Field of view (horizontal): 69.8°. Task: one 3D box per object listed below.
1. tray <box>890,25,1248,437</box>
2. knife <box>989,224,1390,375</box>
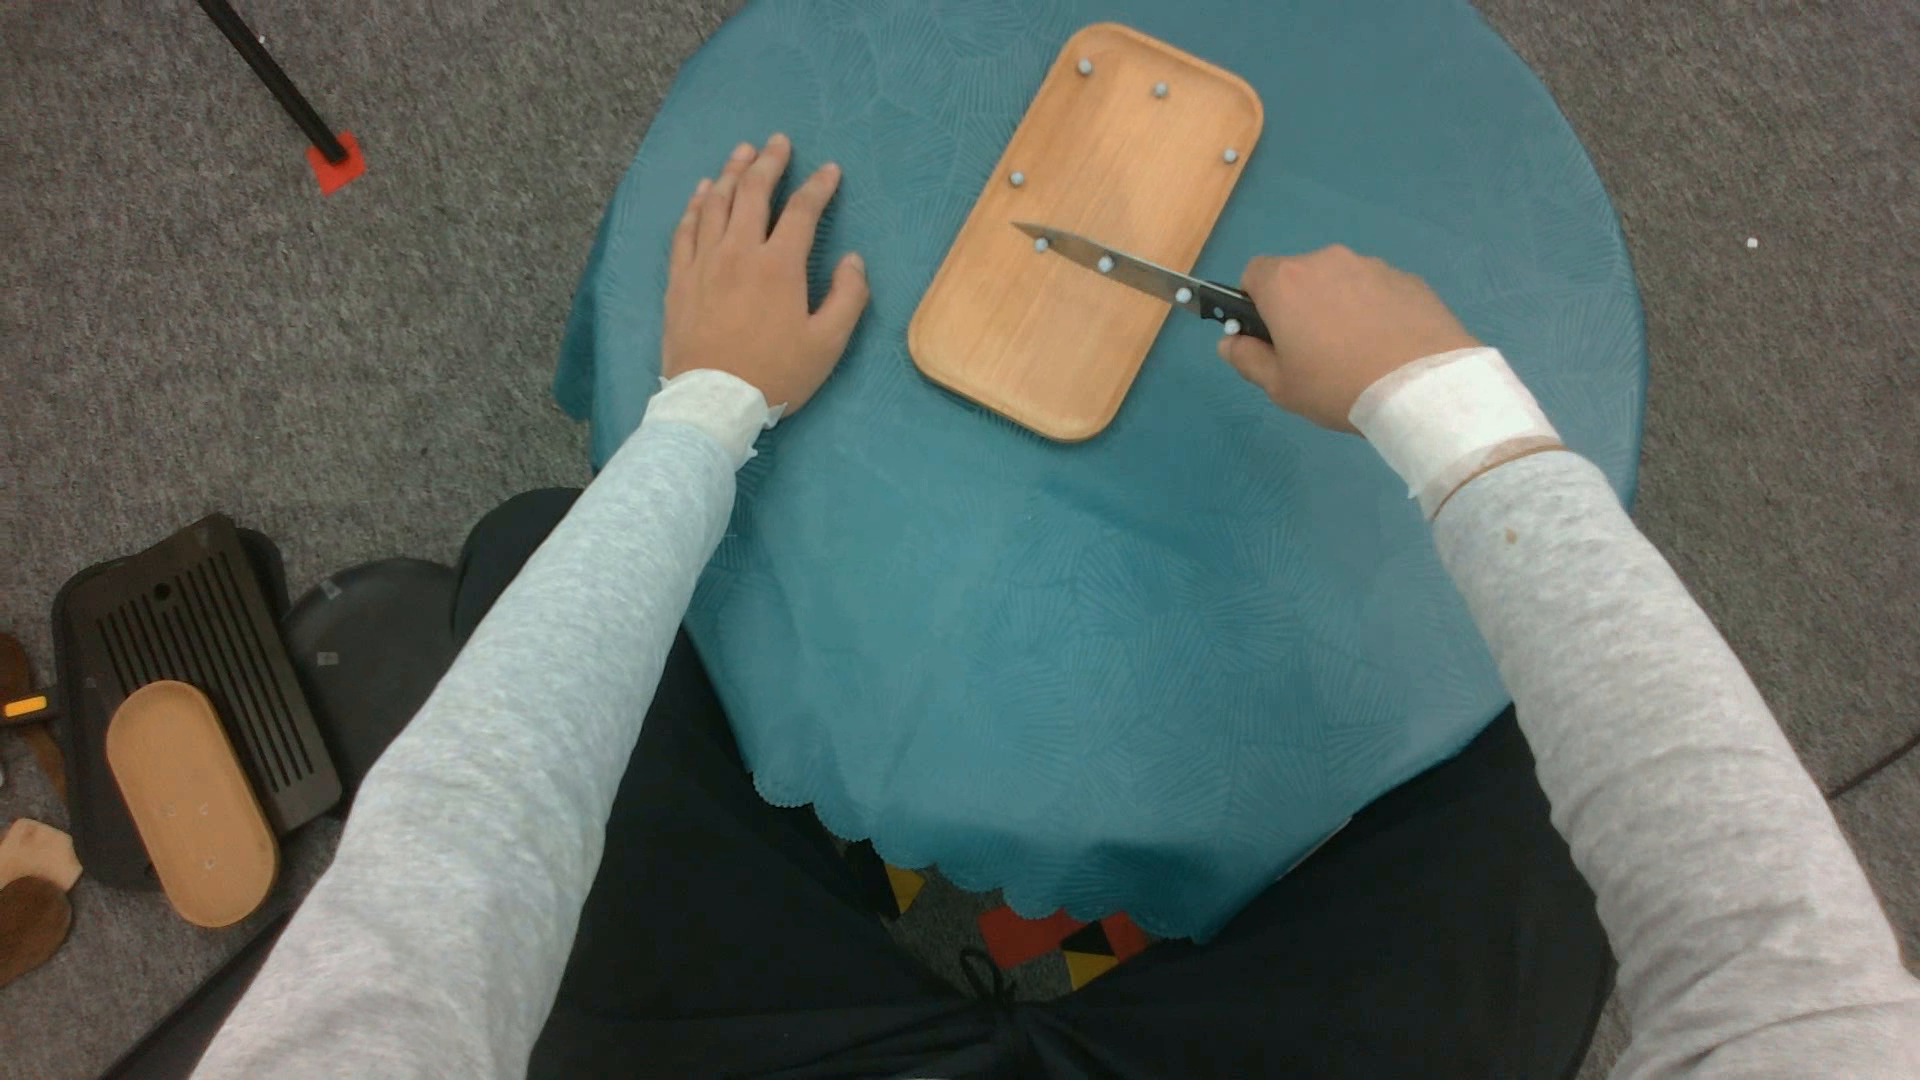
[{"bbox_3d":[0.065,-0.182,0.795,0.130,0.023,0.251,27,76,9],"label":"tray"},{"bbox_3d":[0.107,-0.130,0.700,0.238,0.024,0.016,26,64,31],"label":"knife"}]
